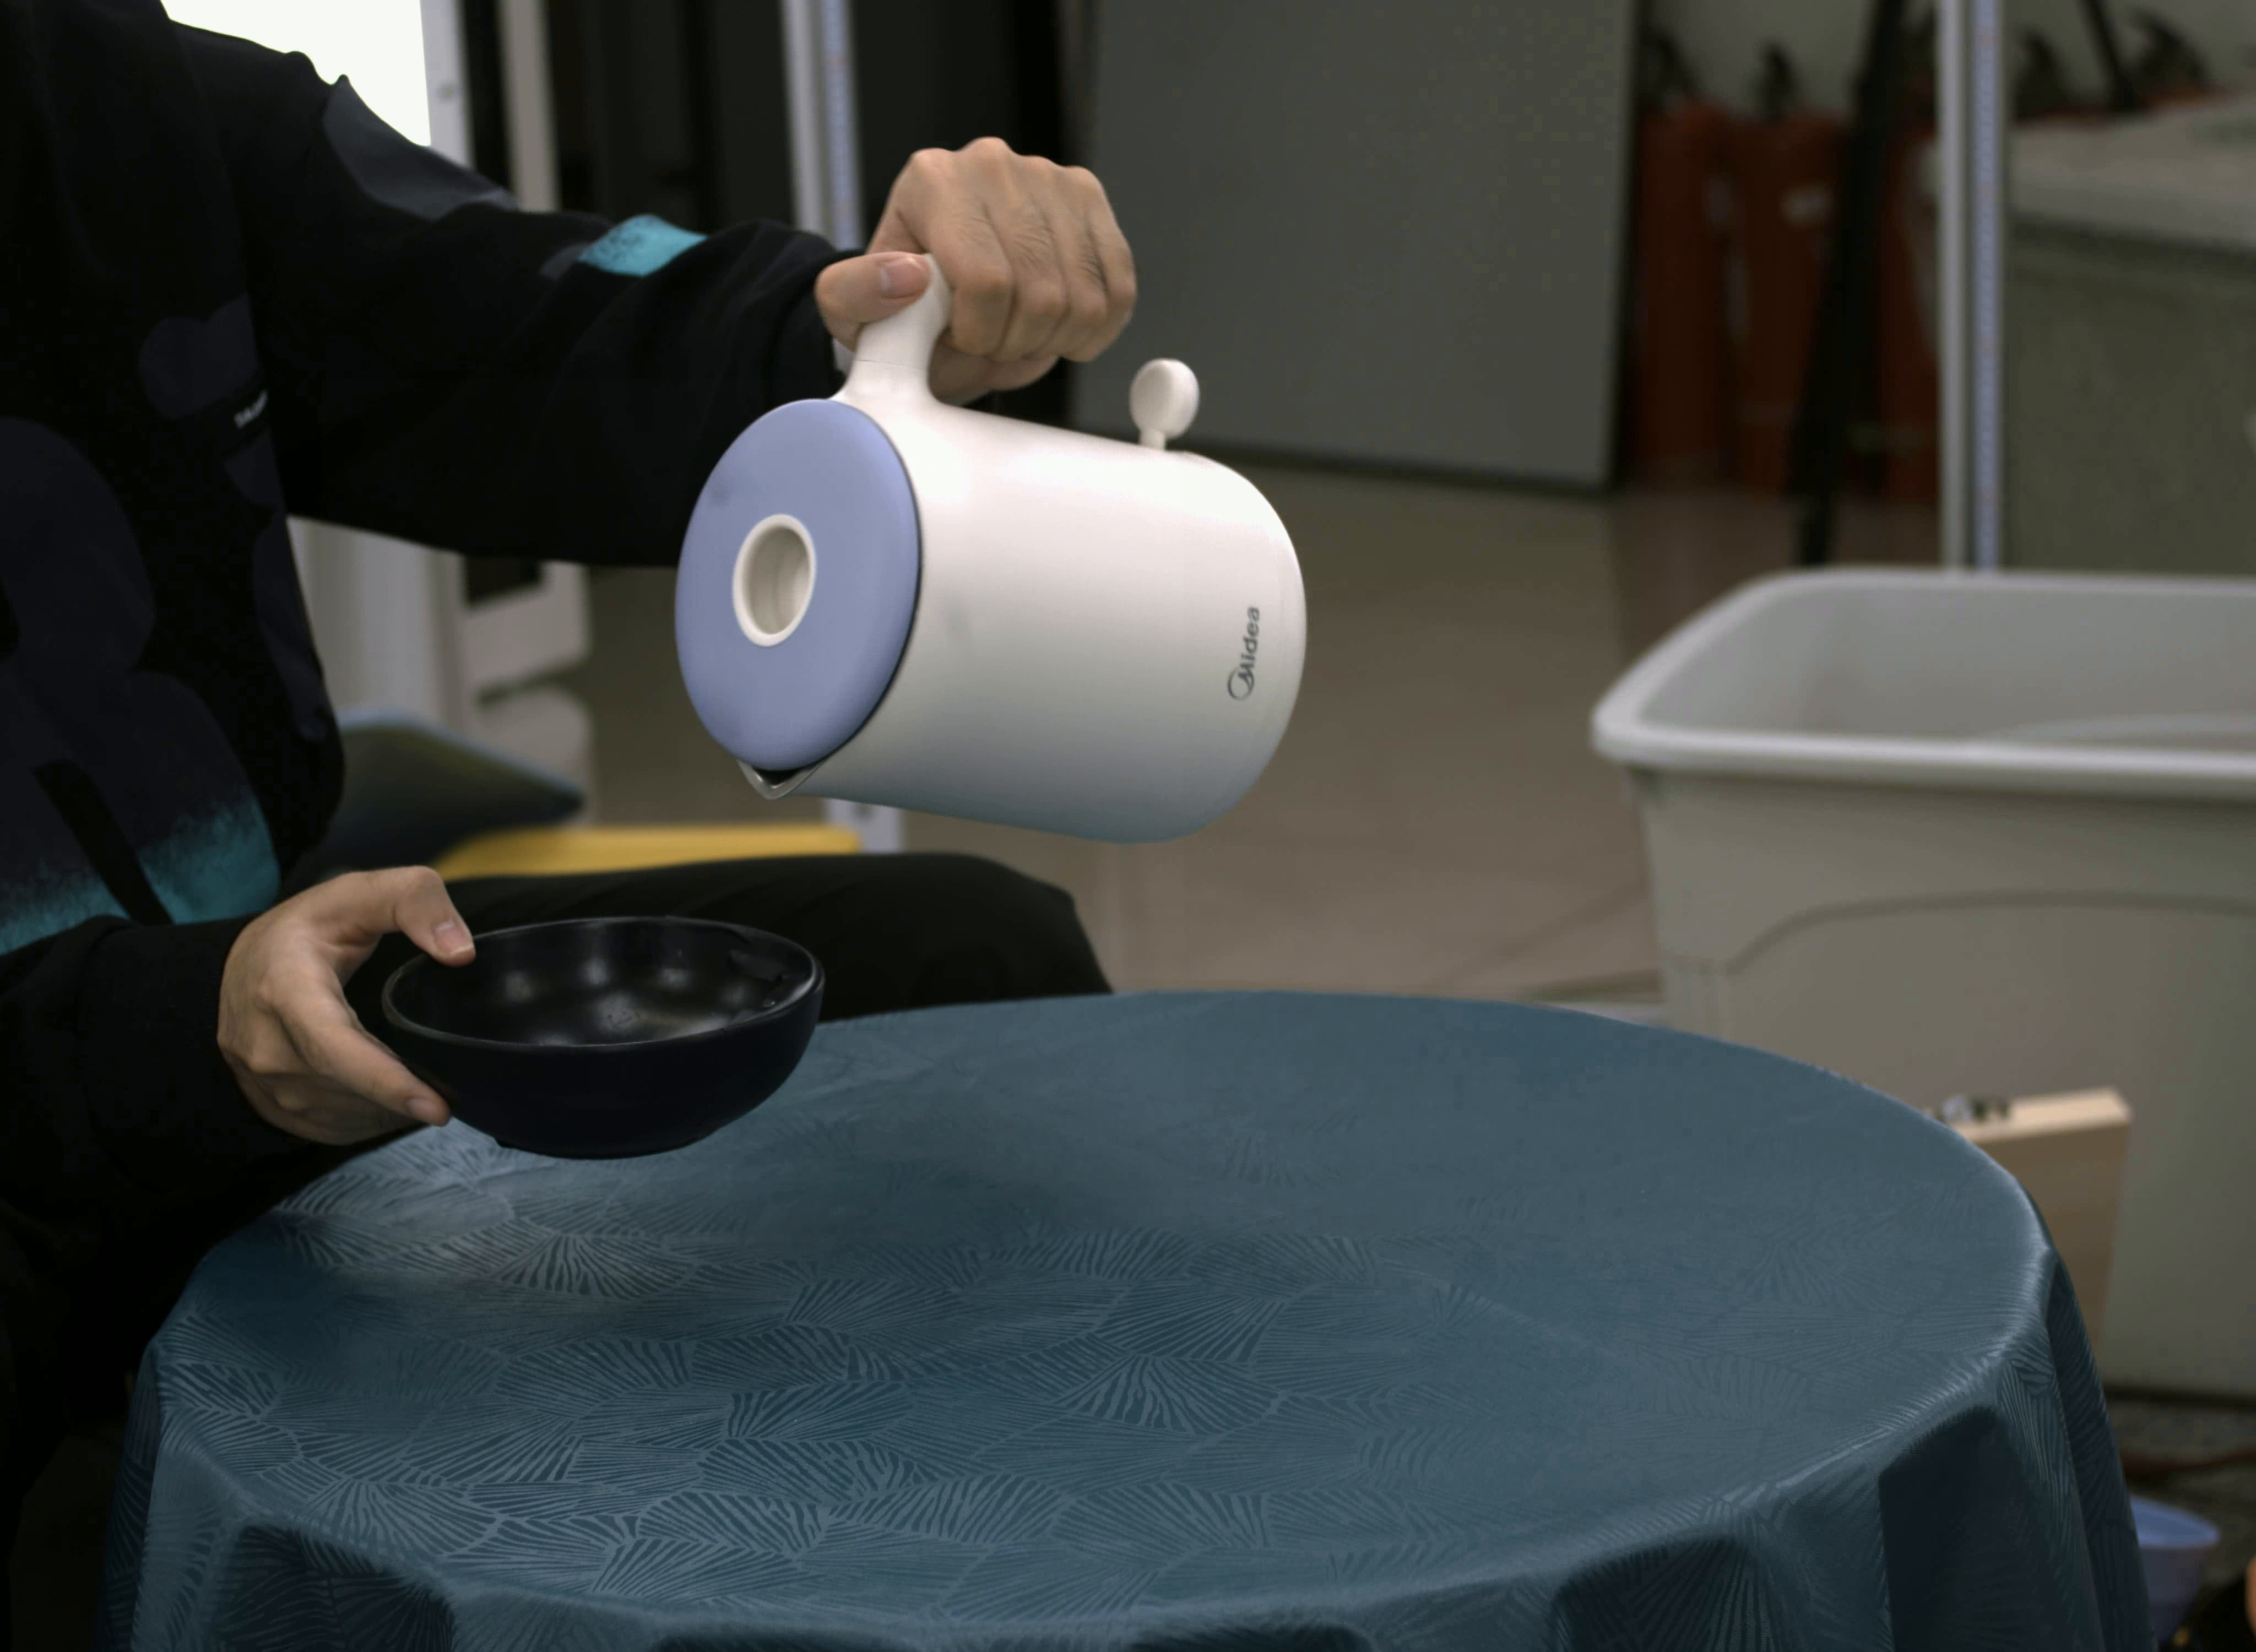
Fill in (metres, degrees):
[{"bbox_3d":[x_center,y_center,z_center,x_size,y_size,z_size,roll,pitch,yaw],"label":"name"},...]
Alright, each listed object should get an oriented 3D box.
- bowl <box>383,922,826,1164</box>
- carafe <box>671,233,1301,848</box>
[{"bbox_3d":[-0.161,0.071,1.684,0.138,0.050,0.140,-3,13,0],"label":"bowl"},{"bbox_3d":[-0.042,-0.093,1.740,0.178,0.193,0.133,13,-6,-41],"label":"carafe"}]
